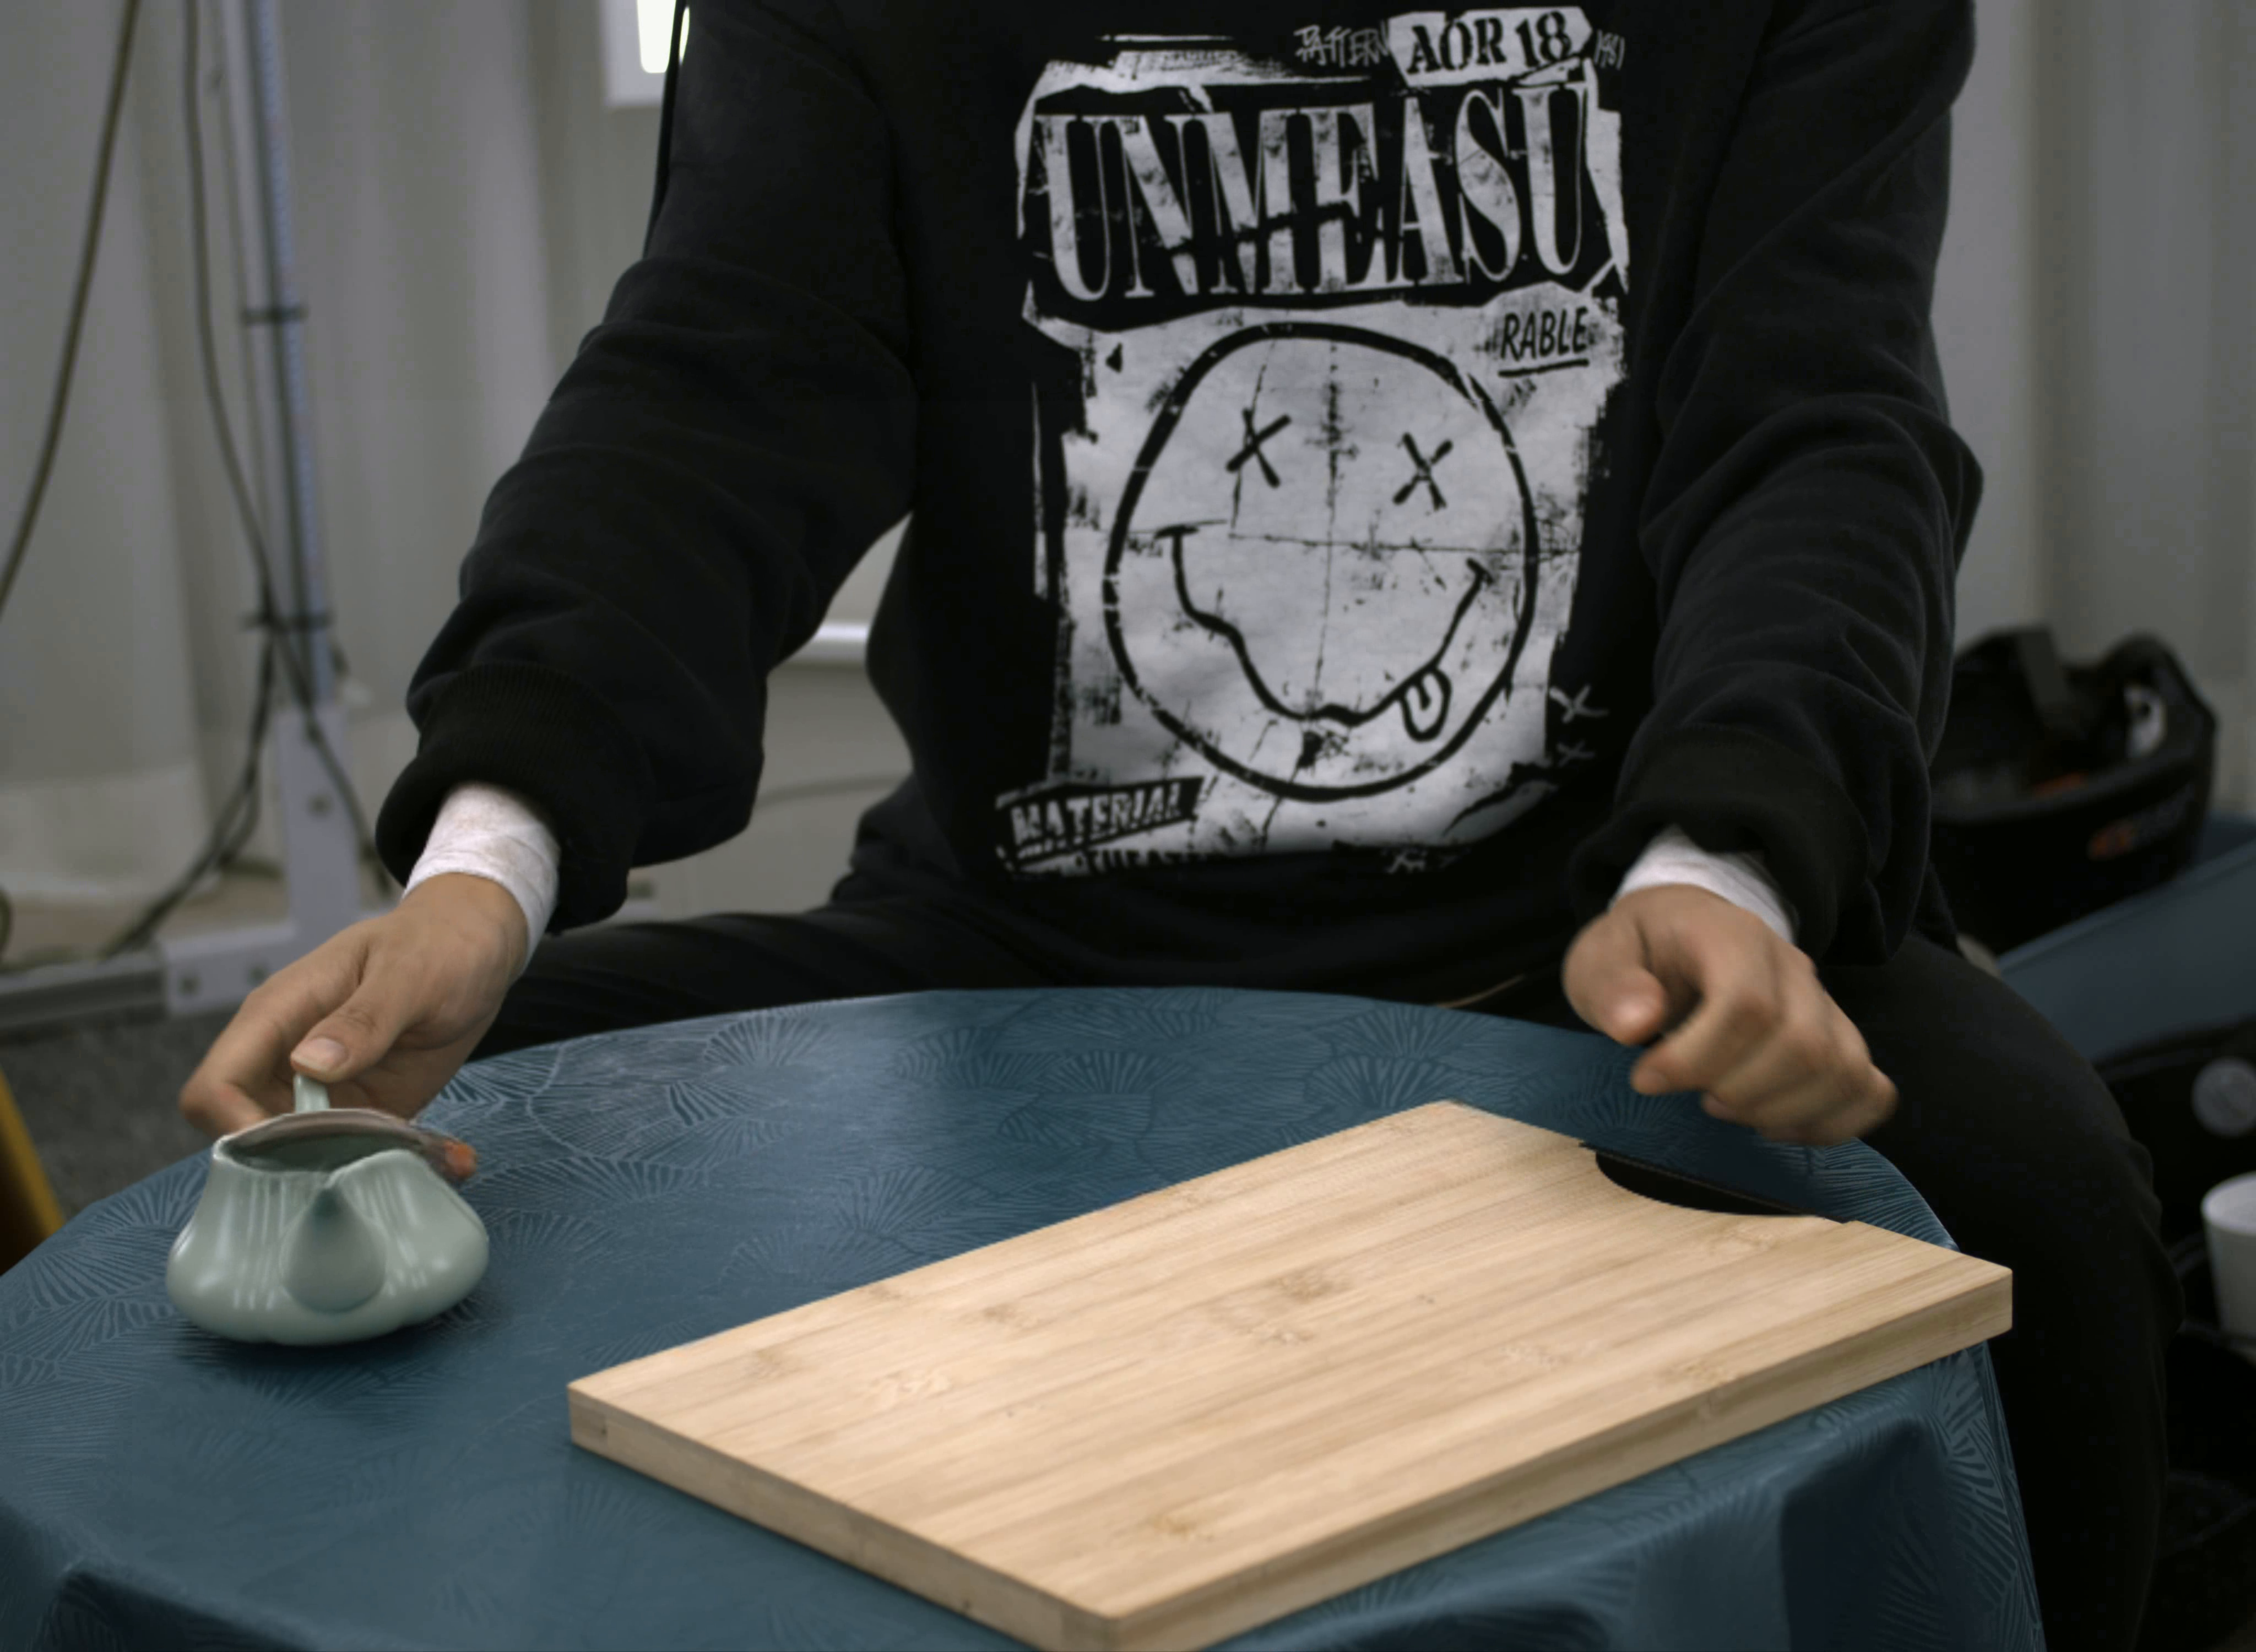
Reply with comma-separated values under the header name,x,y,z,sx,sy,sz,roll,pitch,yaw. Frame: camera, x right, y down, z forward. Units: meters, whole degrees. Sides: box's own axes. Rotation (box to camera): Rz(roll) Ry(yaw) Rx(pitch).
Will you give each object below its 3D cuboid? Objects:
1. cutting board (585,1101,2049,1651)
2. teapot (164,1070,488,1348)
name,x,y,z,sx,sy,sz,roll,pitch,yaw
cutting board,0.053,0.150,1.542,0.348,0.023,0.252,-15,19,-39
teapot,-0.241,0.117,1.635,0.096,0.061,0.138,-7,16,-12
